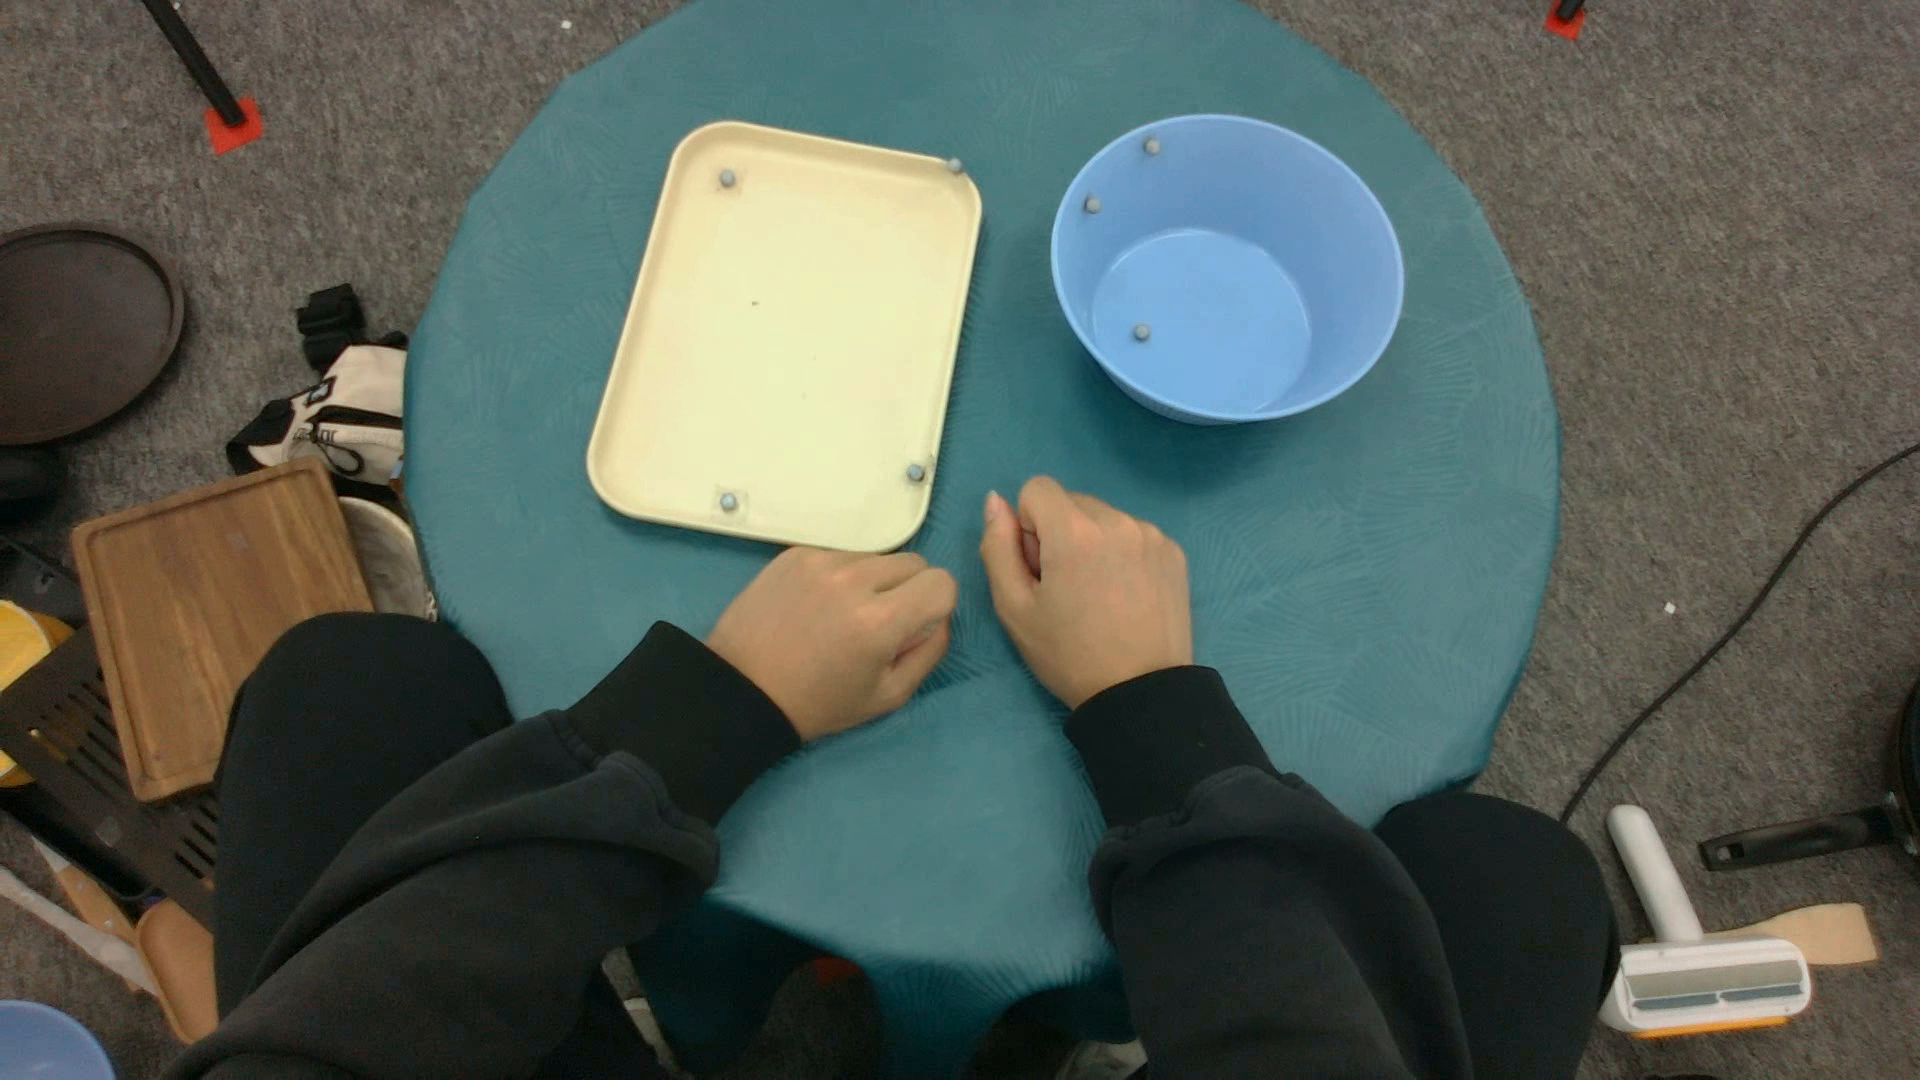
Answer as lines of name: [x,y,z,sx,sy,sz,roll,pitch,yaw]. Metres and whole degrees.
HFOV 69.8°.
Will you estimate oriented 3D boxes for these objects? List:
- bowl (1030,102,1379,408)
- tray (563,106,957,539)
bowl: [0.120,-0.135,0.712,0.176,0.070,0.176,2,67,-4]
tray: [-0.098,-0.117,0.715,0.171,0.017,0.240,9,68,-1]
